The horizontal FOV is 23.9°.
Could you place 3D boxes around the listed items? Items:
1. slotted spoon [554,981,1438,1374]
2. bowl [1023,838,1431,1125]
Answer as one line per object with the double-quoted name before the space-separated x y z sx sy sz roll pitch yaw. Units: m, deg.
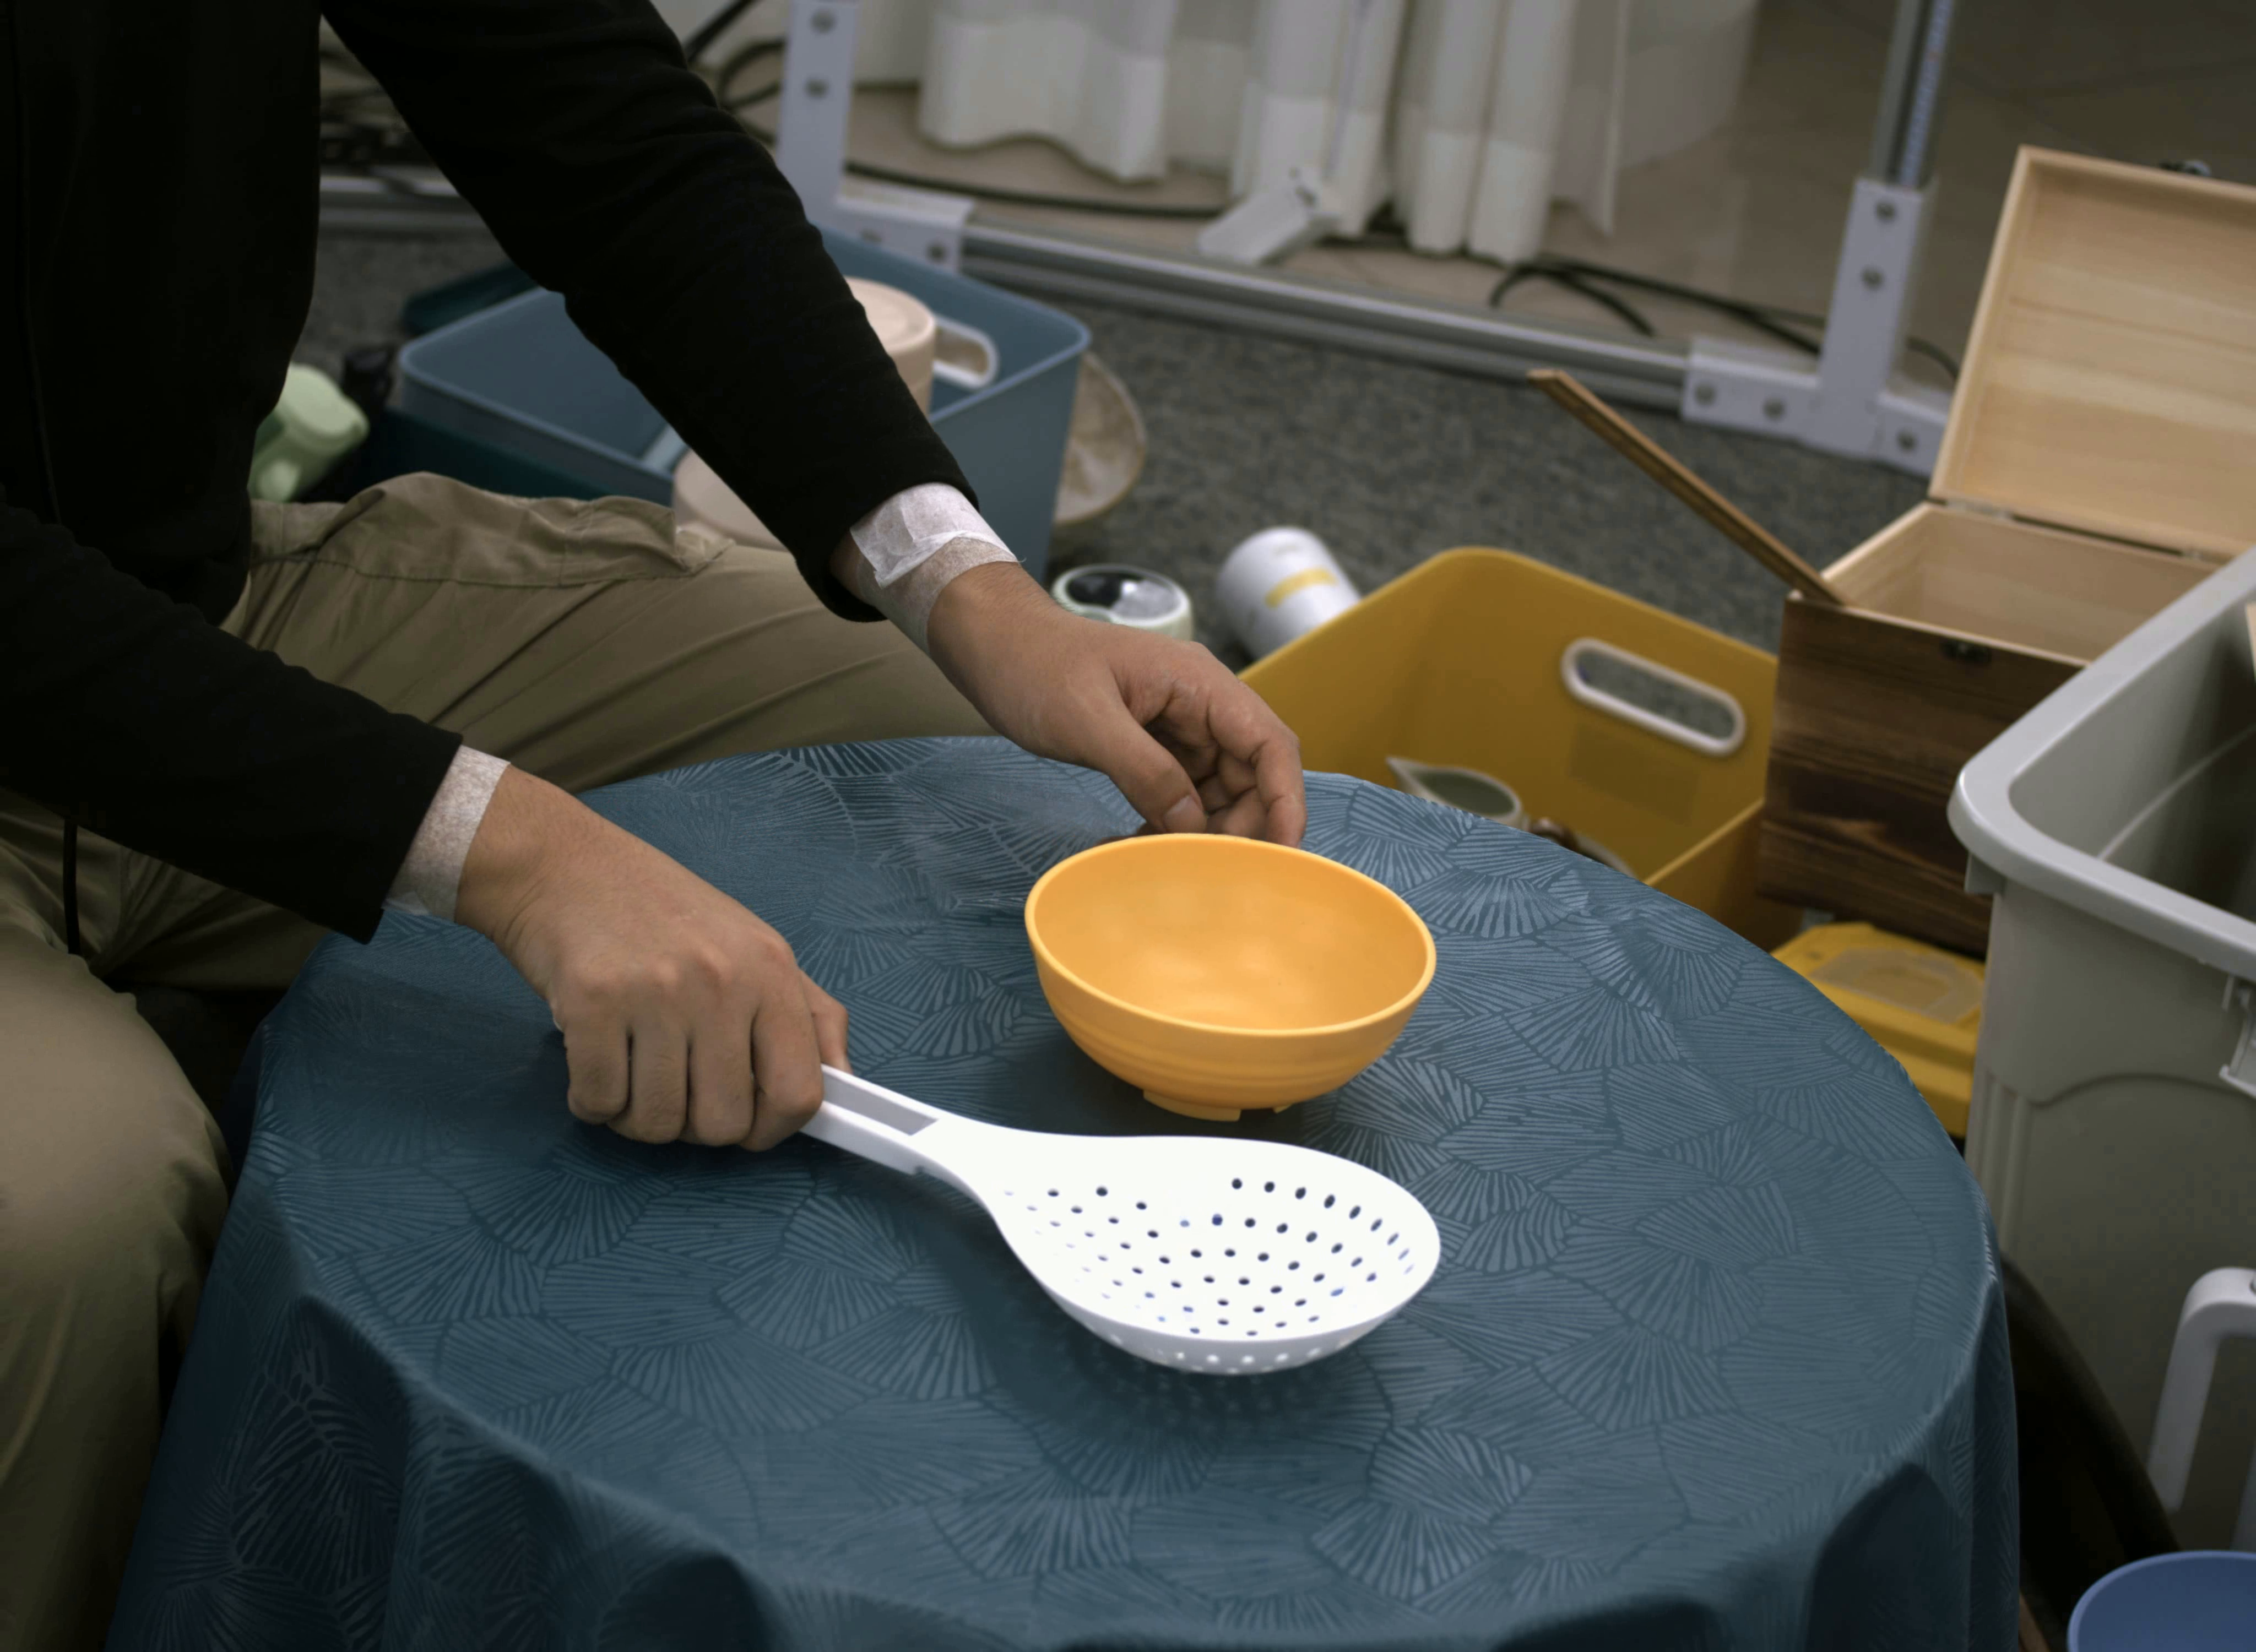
"slotted spoon" -0.055 0.110 1.767 0.352 0.045 0.135 23 31 31
"bowl" 0.031 0.063 1.866 0.145 0.060 0.146 7 26 -4
